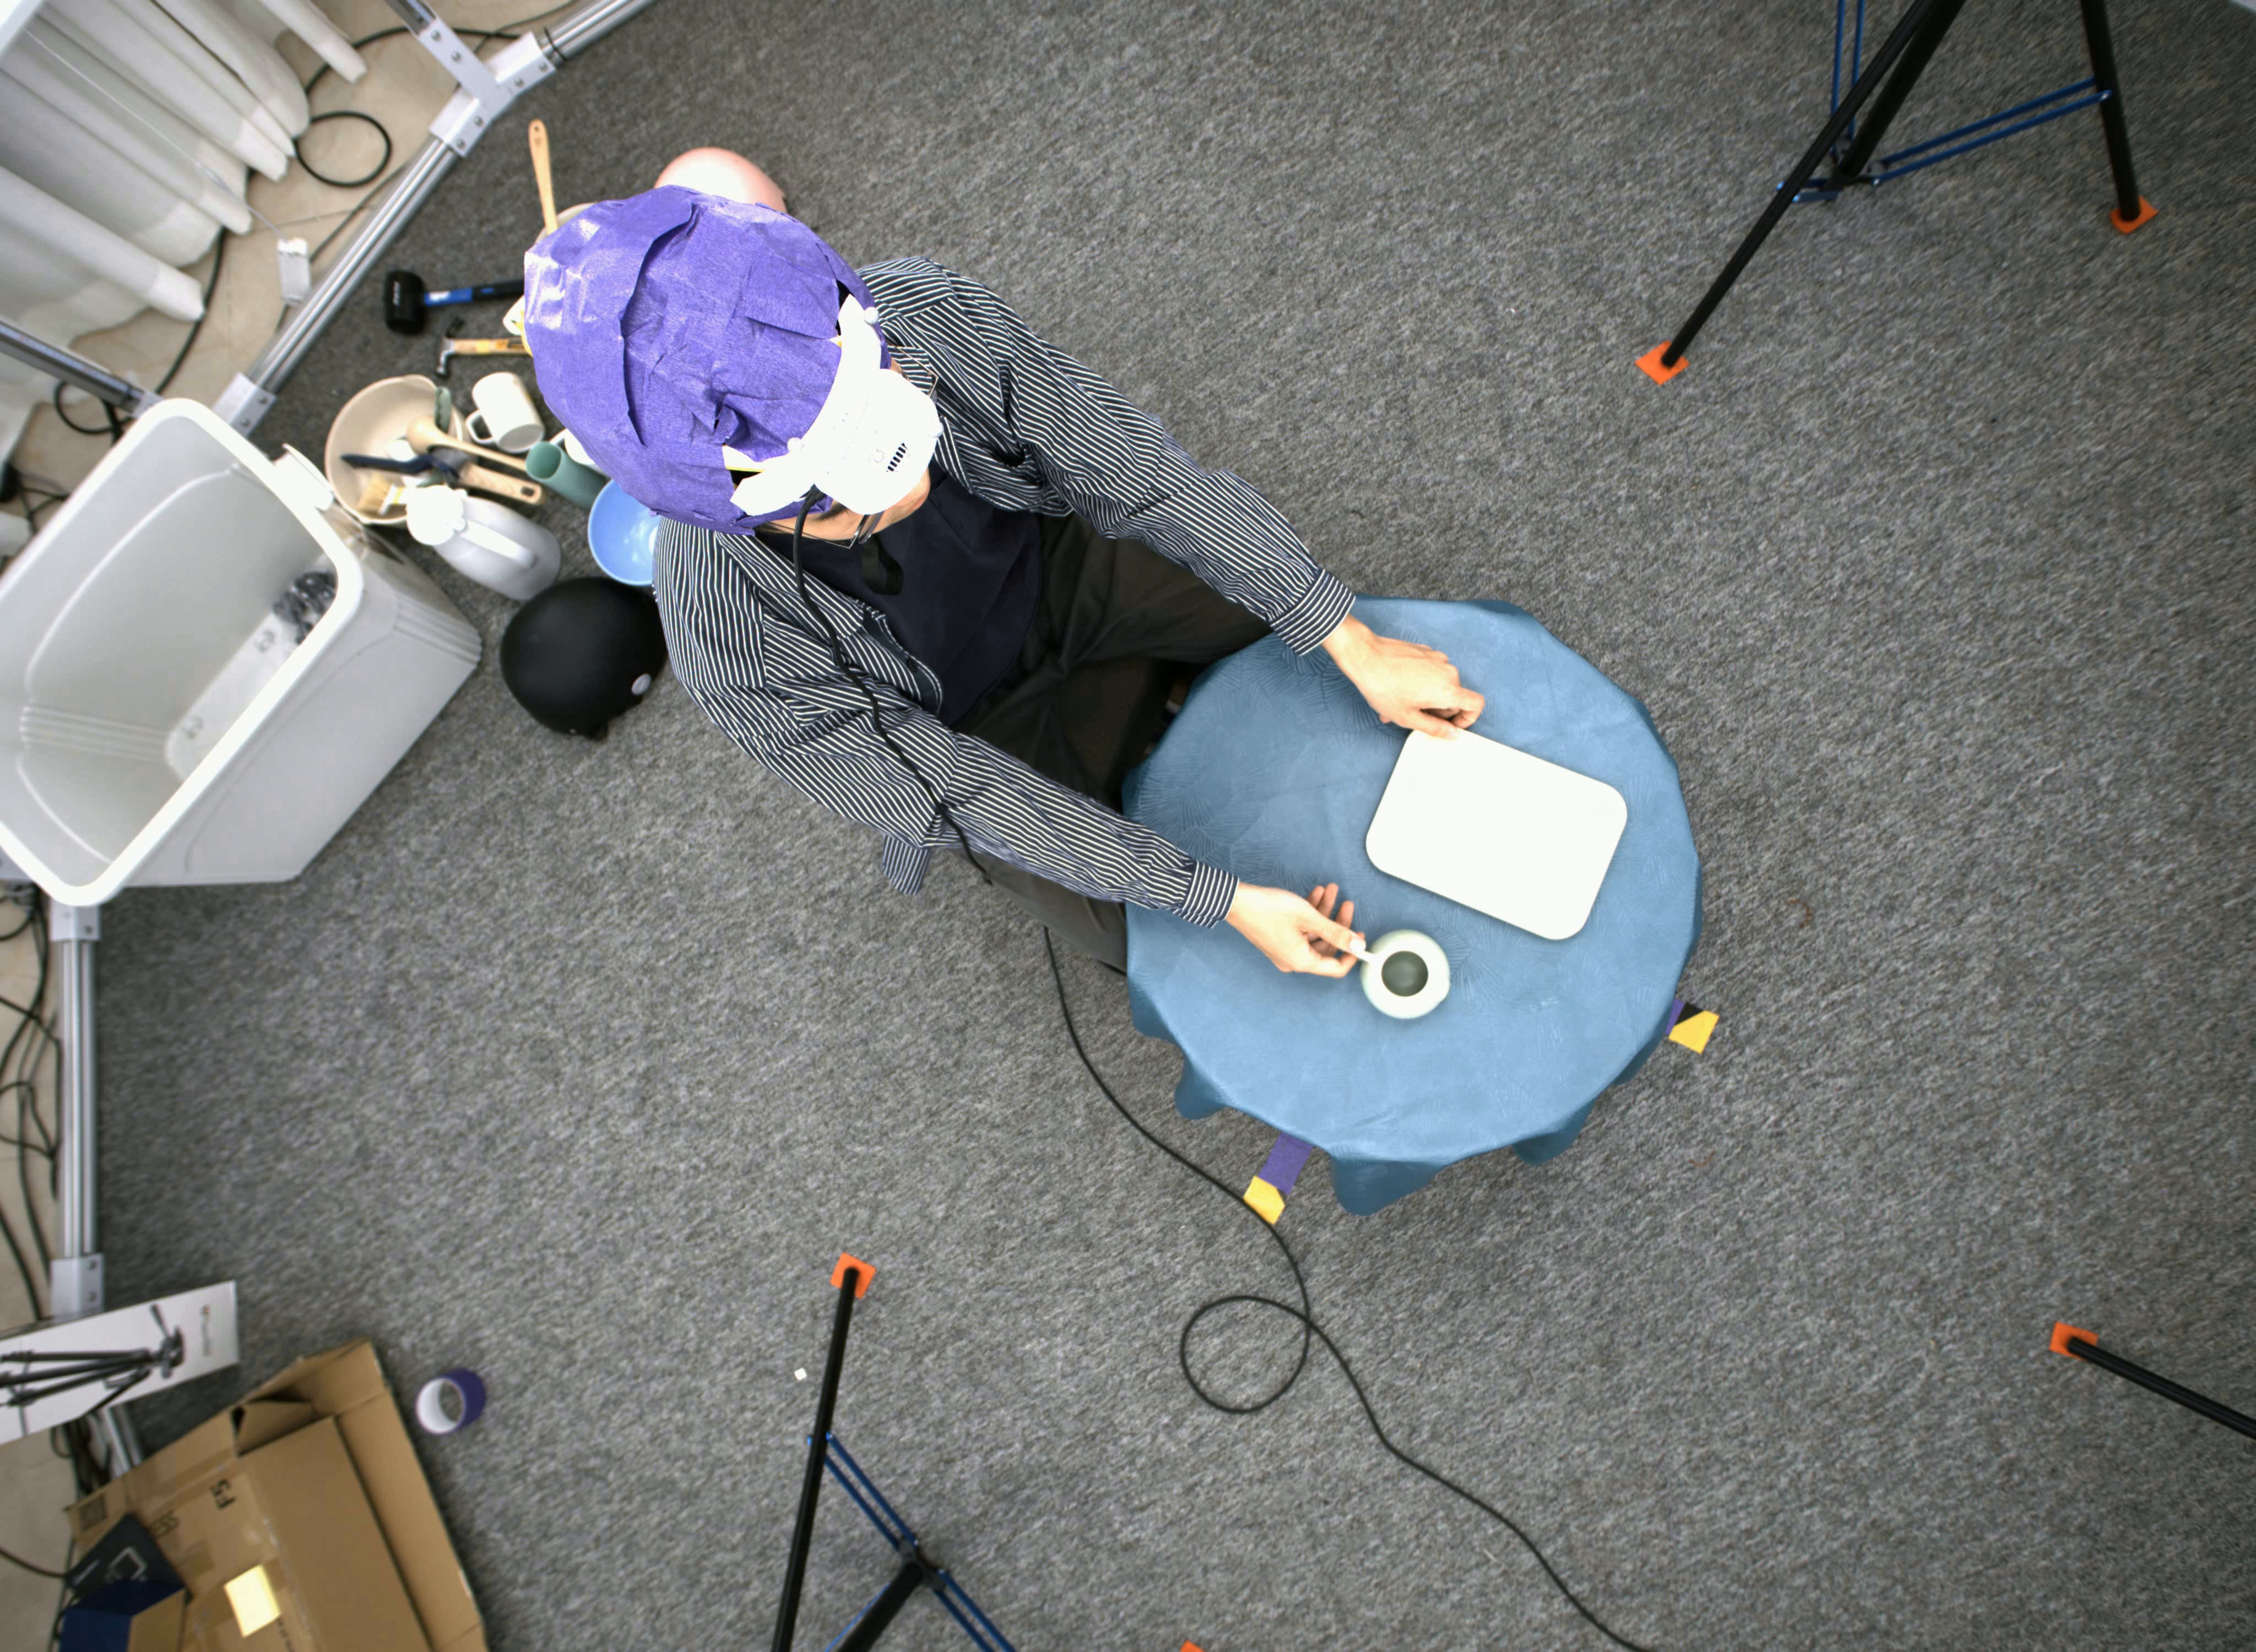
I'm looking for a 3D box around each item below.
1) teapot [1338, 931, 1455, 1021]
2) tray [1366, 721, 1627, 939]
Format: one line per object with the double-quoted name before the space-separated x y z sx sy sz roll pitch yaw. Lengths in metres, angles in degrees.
"teapot" 0.274 0.147 1.415 0.128 0.061 0.092 27 93 10
"tray" 0.380 0.001 1.423 0.239 0.017 0.171 23 91 10
